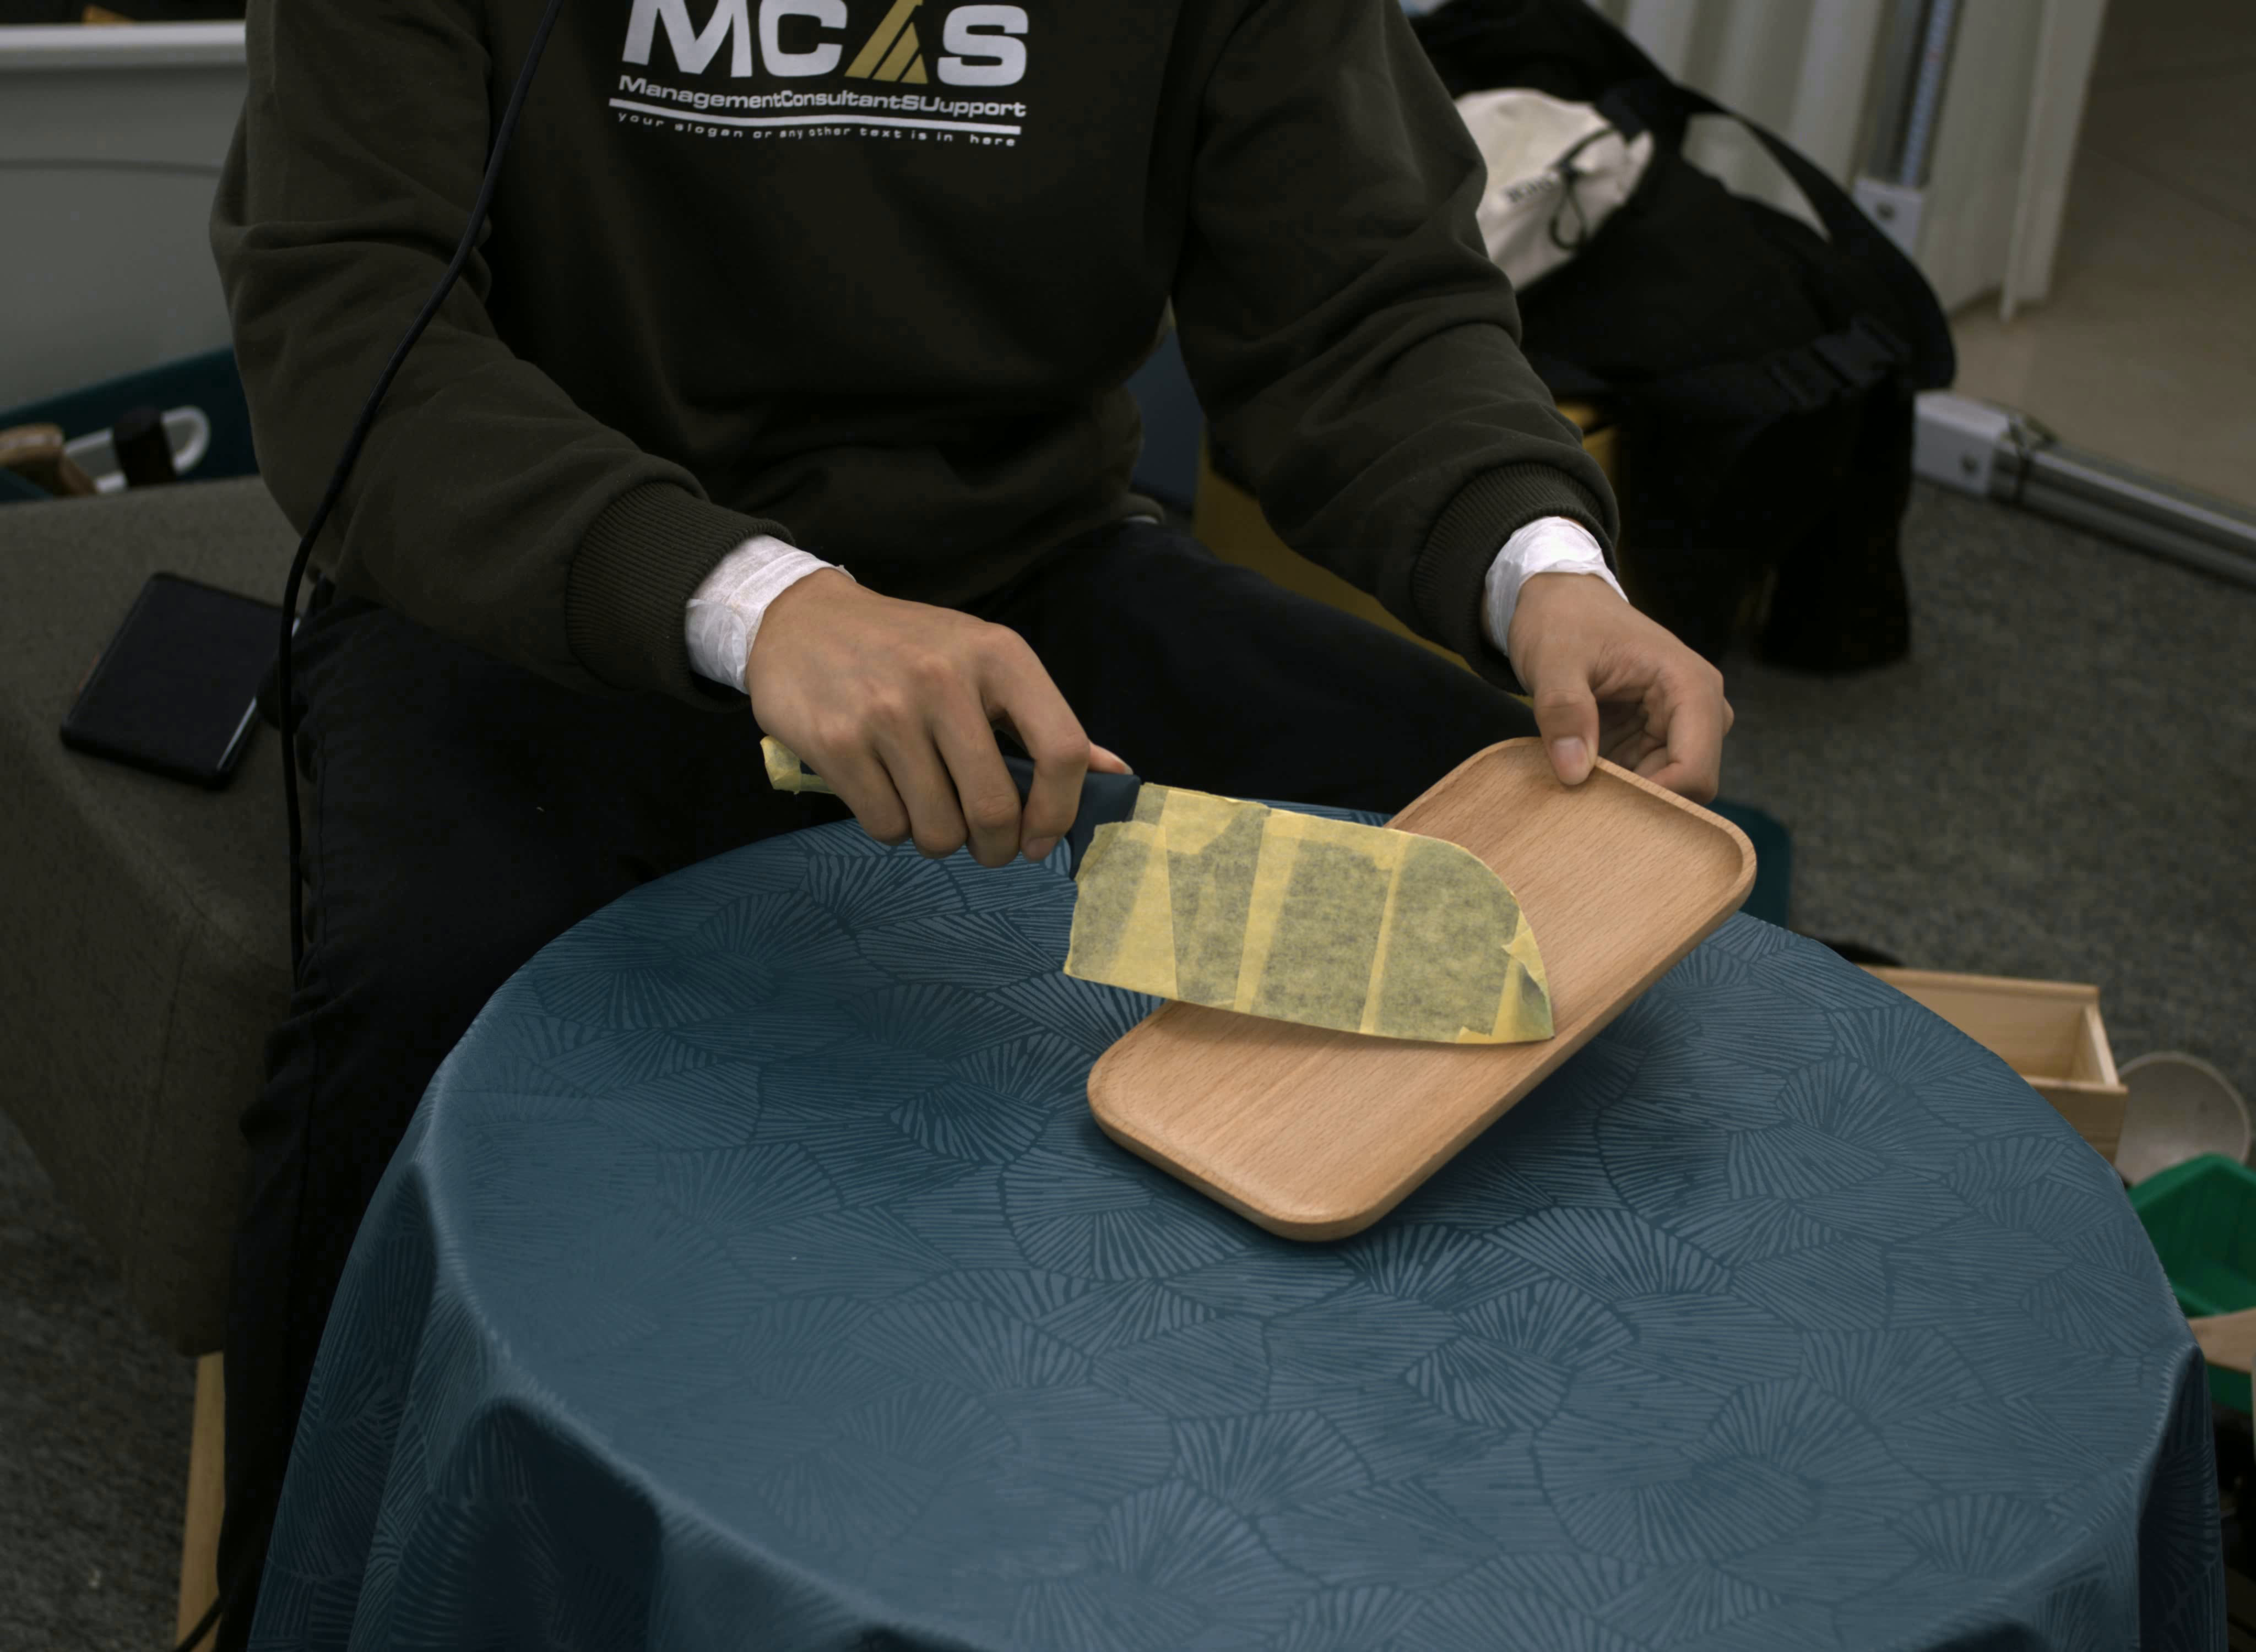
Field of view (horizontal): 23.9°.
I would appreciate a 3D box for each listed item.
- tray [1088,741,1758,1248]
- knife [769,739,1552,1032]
[{"bbox_3d":[0.105,0.057,1.864,0.131,0.023,0.250,25,51,38],"label":"tray"},{"bbox_3d":[0.009,0.020,1.860,0.289,0.081,0.027,13,-7,11],"label":"knife"}]
